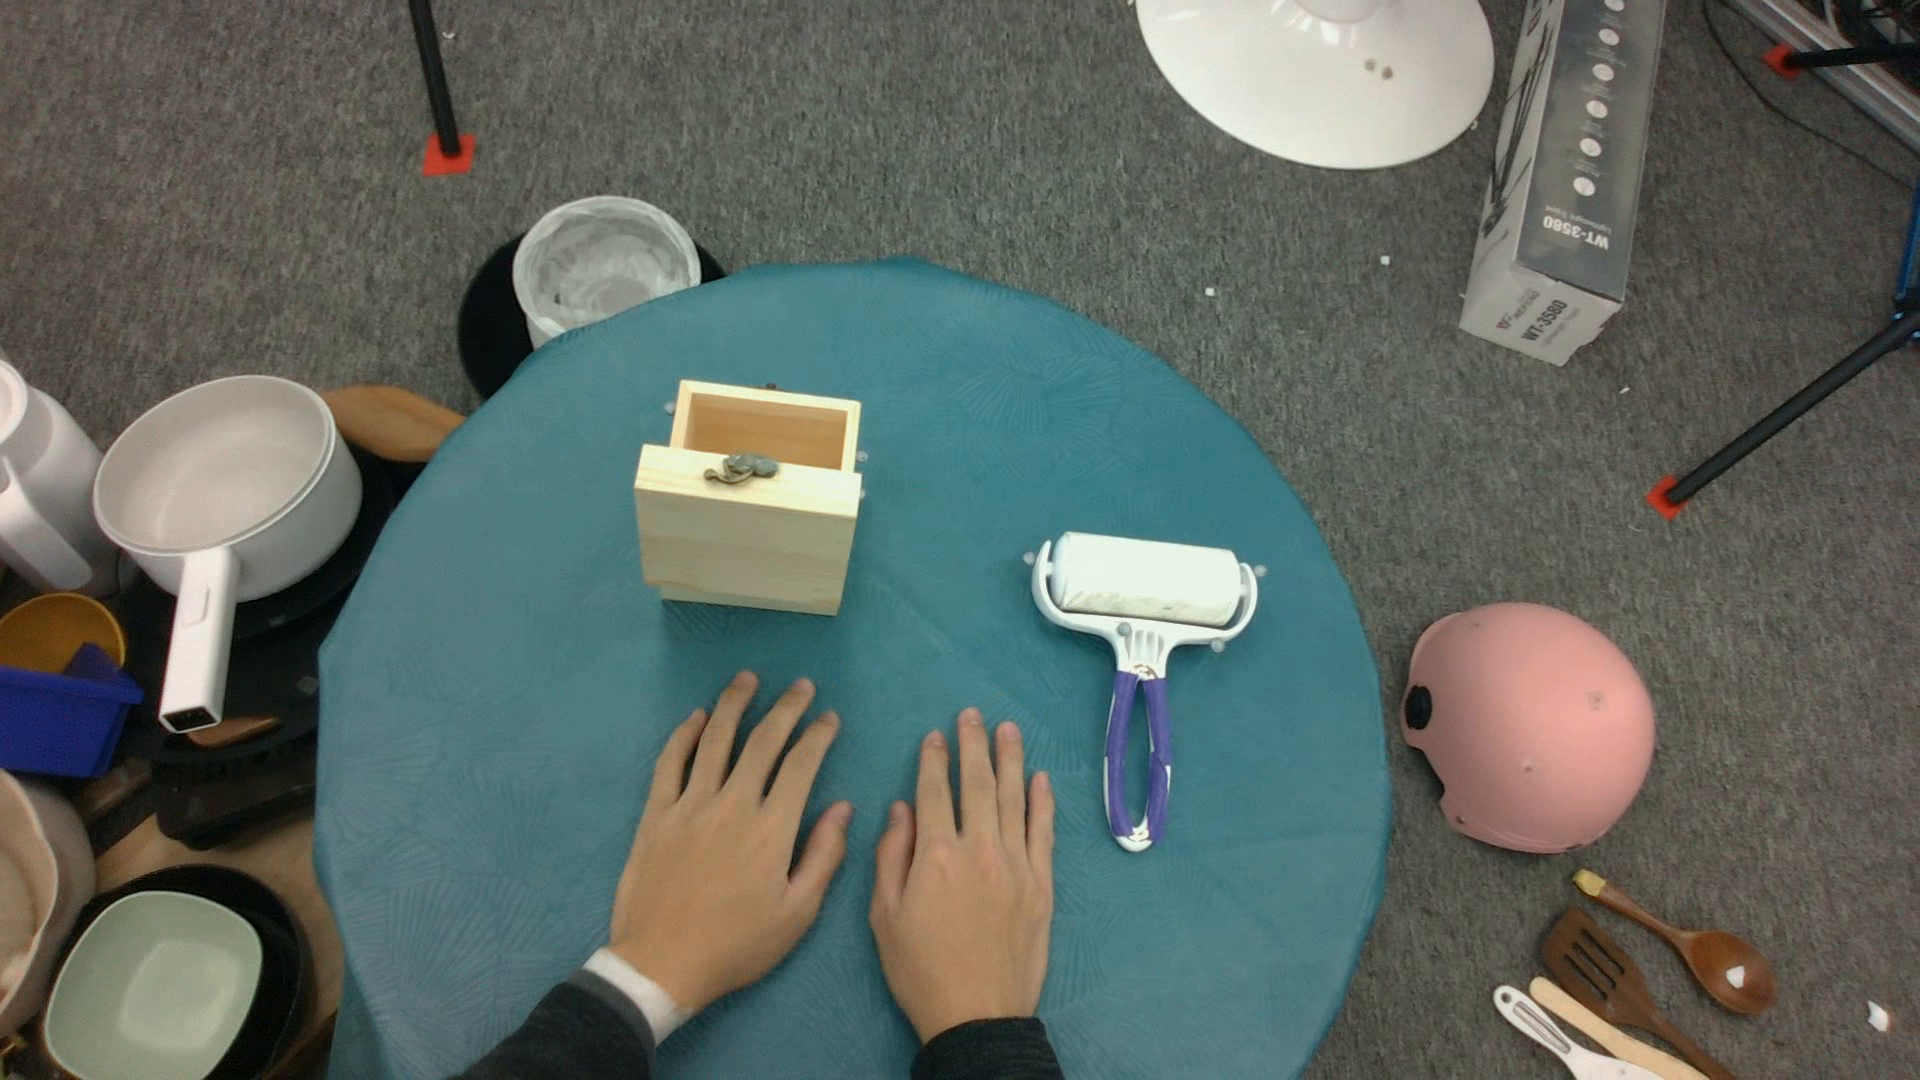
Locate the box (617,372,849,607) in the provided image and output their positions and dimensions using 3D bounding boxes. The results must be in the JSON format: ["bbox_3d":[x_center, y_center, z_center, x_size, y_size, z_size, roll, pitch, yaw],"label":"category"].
[{"bbox_3d":[-0.112,-0.040,0.726,0.102,0.183,0.134,5,65,-6],"label":"box"}]

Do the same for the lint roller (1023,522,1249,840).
[{"bbox_3d":[0.099,0.076,0.782,0.133,0.050,0.181,8,62,-7],"label":"lint roller"}]
